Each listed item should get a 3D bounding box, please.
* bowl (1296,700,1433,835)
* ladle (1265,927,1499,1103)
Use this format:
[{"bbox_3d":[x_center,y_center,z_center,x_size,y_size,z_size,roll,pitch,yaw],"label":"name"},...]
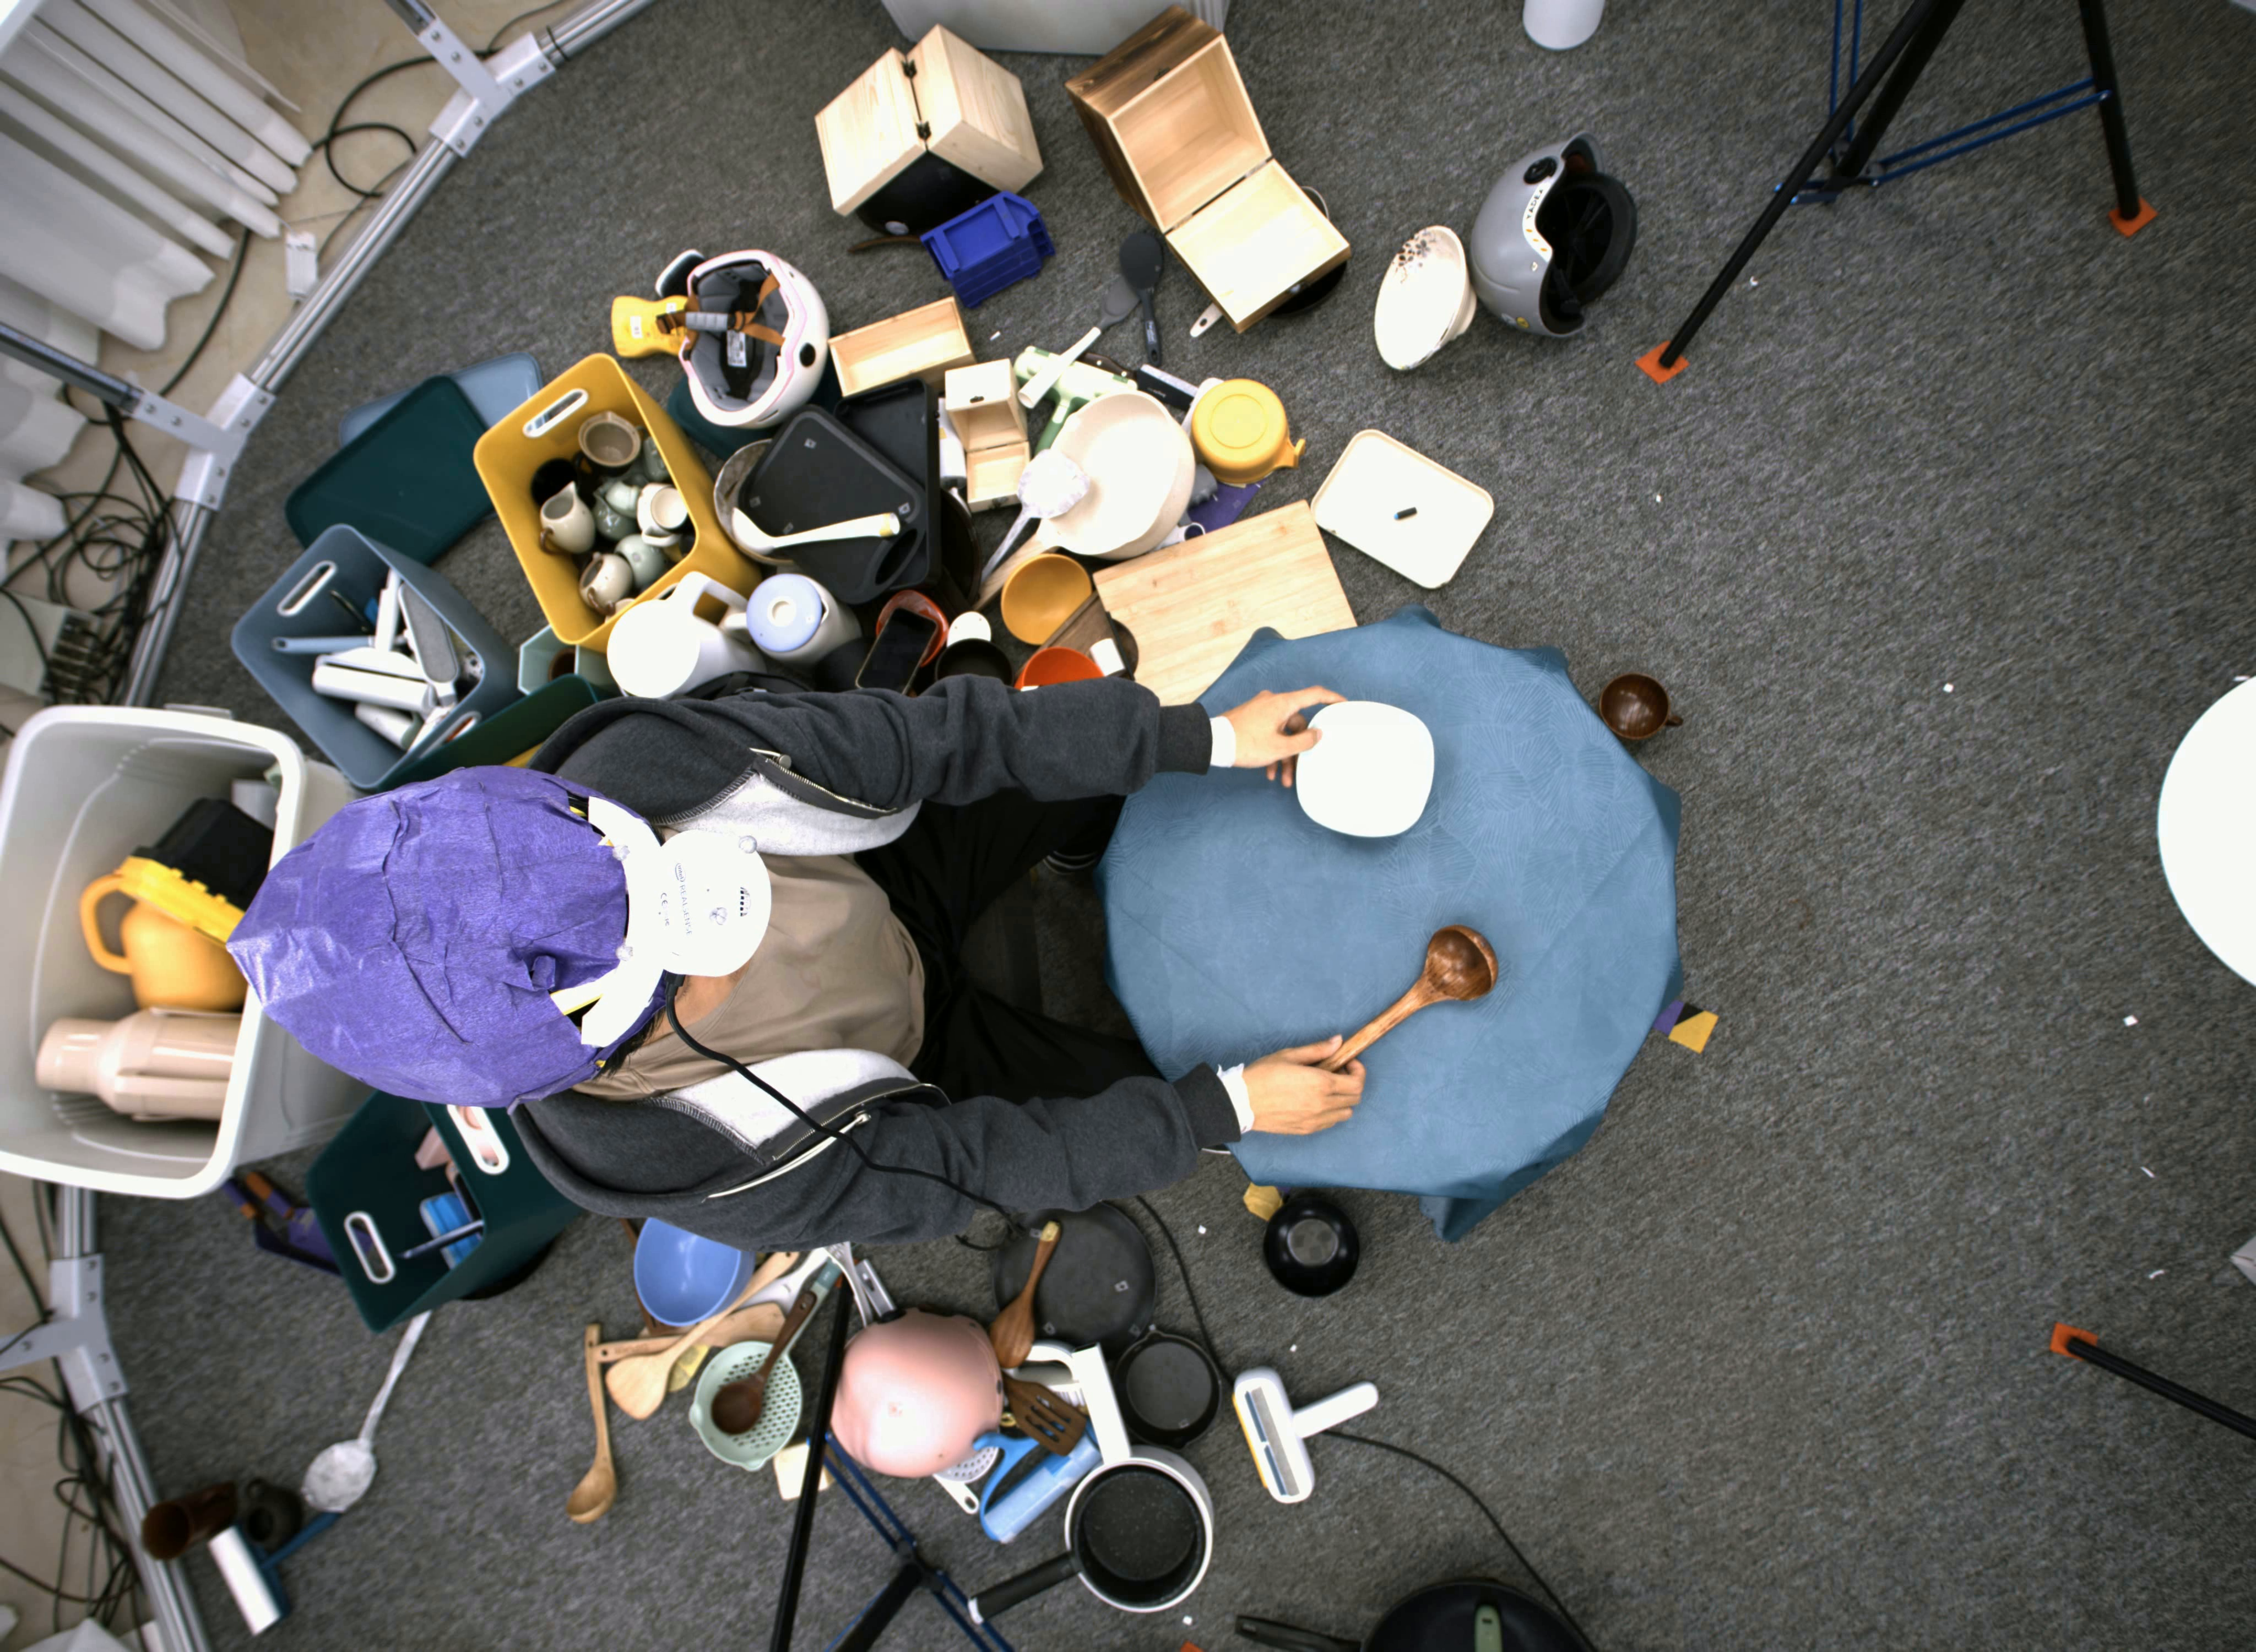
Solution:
[{"bbox_3d":[0.246,-0.059,1.440,0.152,0.058,0.151,0,88,7],"label":"bowl"},{"bbox_3d":[0.256,0.200,1.412,0.275,0.077,0.081,-35,74,4],"label":"ladle"}]
